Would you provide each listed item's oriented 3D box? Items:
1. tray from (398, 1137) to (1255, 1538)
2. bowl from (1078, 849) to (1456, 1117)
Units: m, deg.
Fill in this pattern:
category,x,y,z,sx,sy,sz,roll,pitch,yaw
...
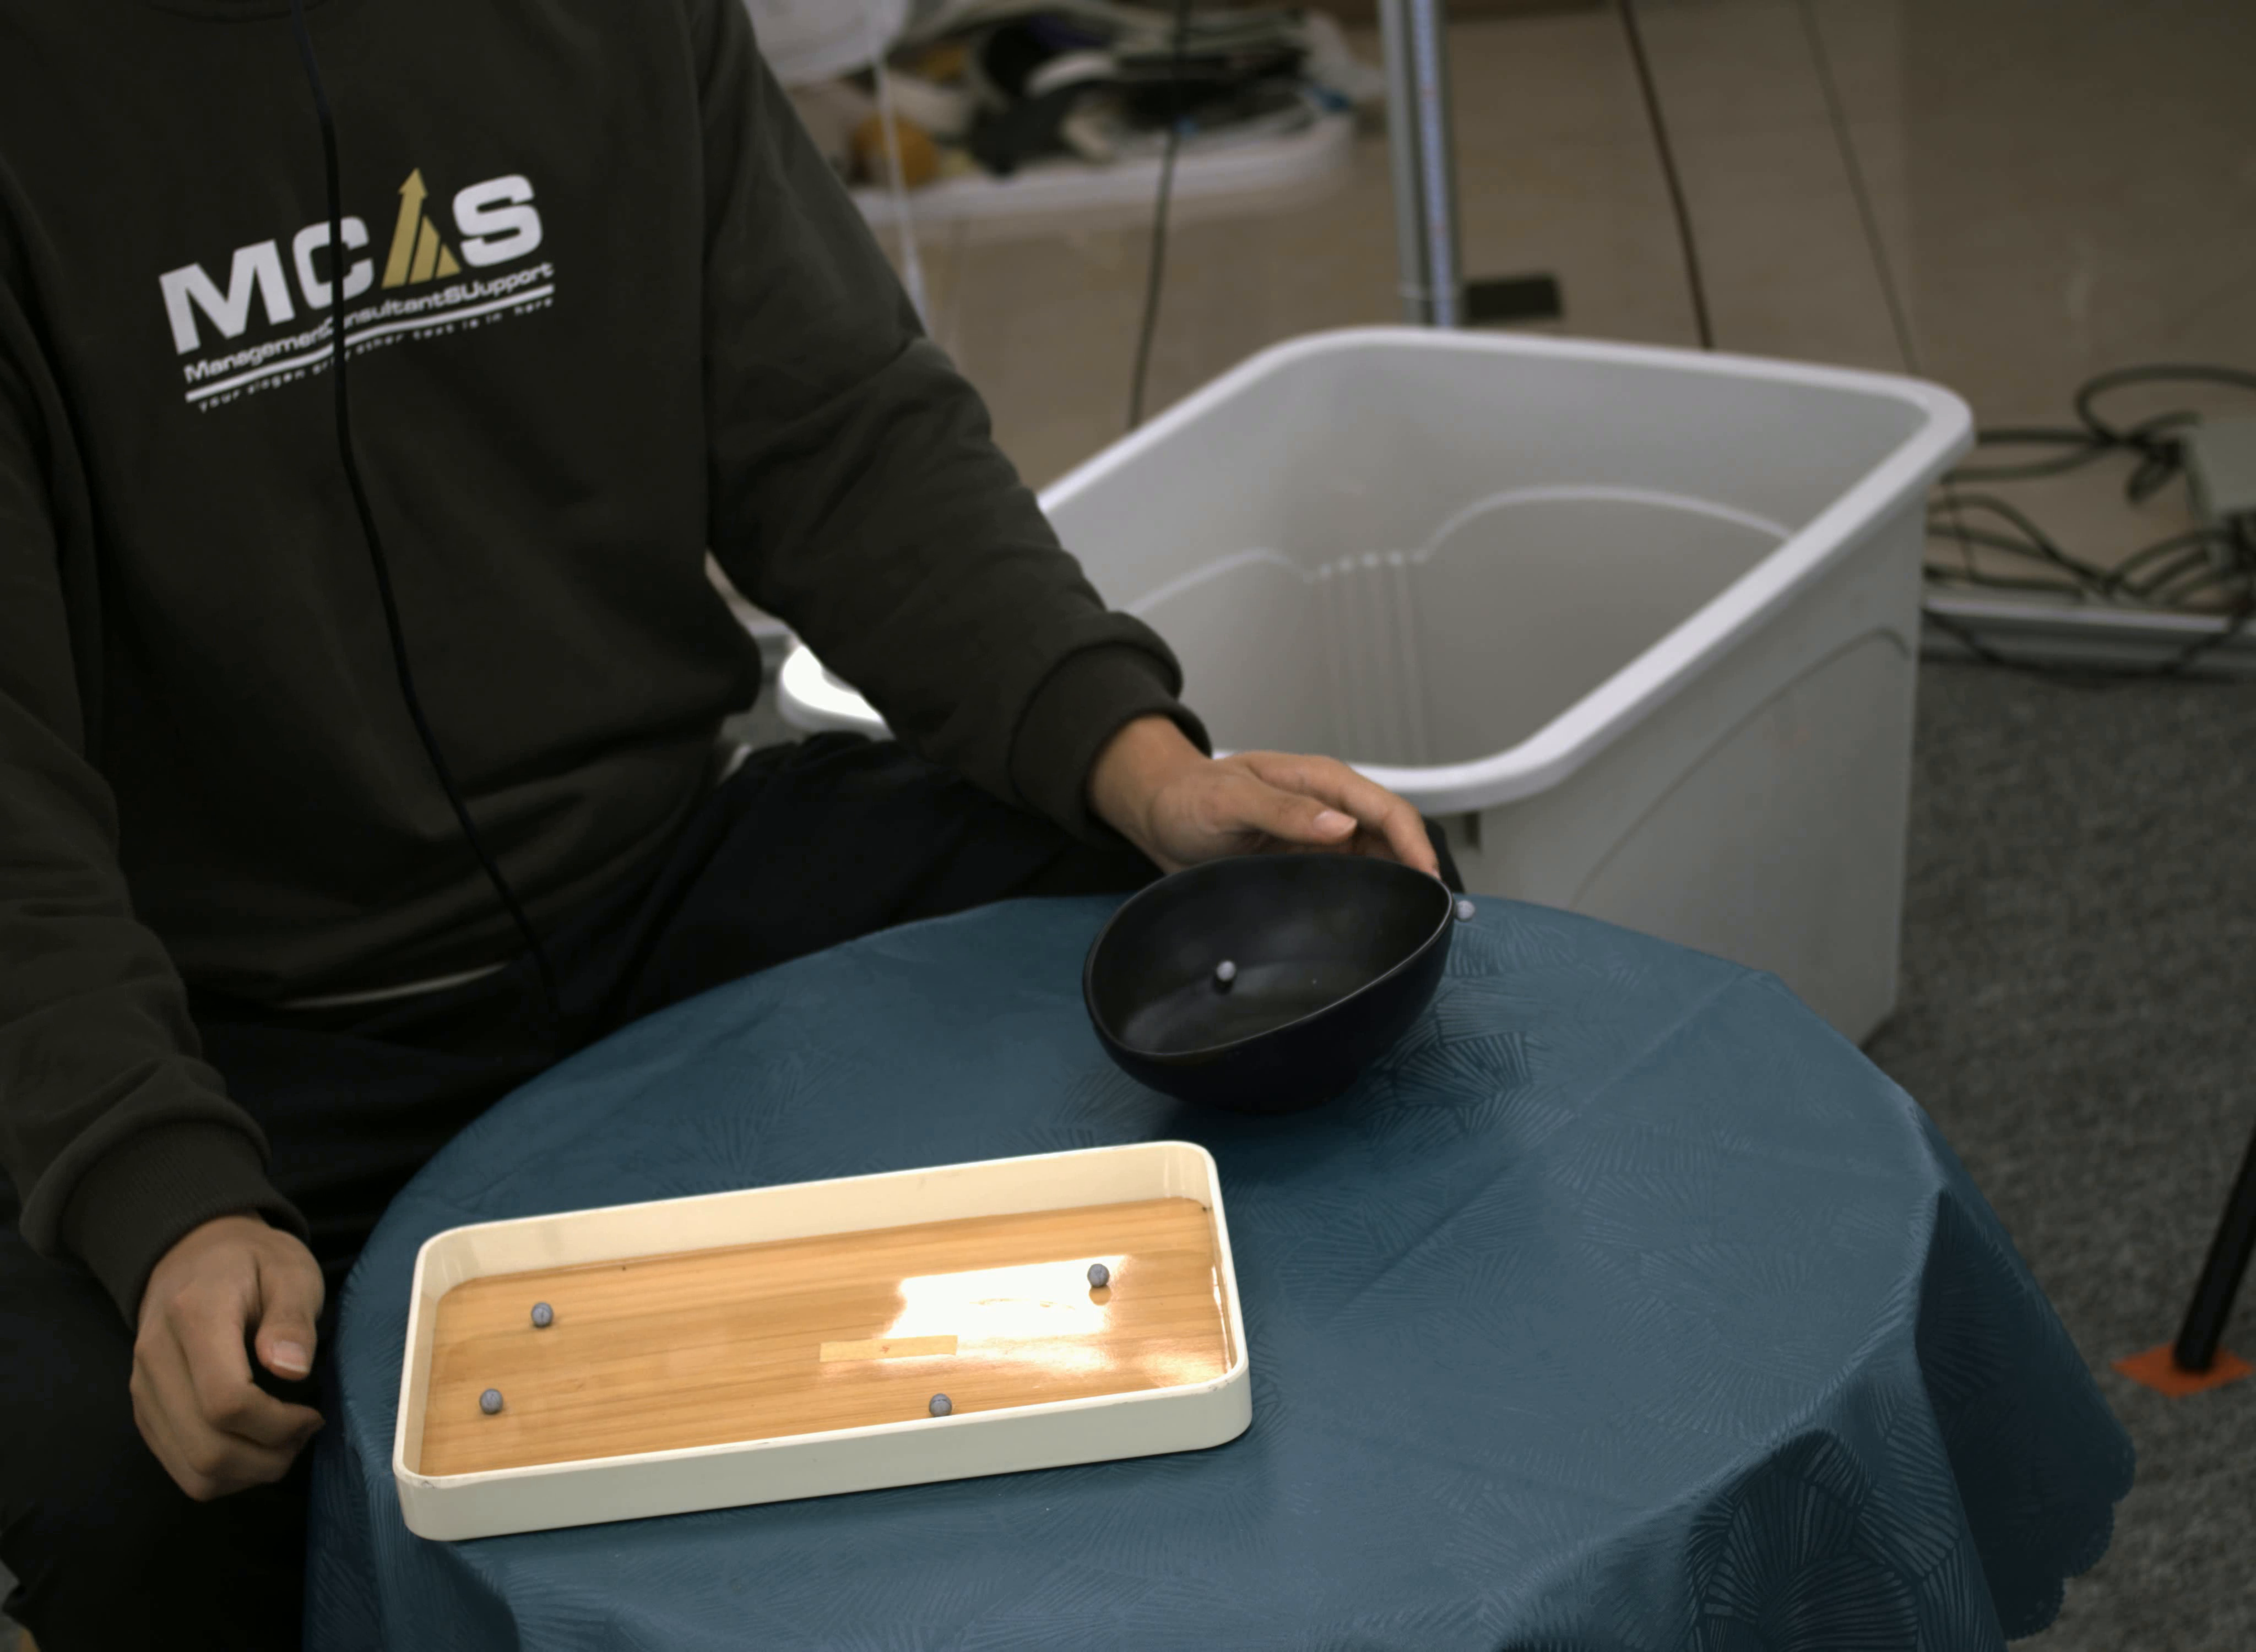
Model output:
category,x,y,z,sx,sy,sz,roll,pitch,yaw
tray,-0.110,0.182,2.047,0.300,0.028,0.189,-7,25,-1
bowl,0.057,0.069,2.210,0.136,0.068,0.168,10,31,34
